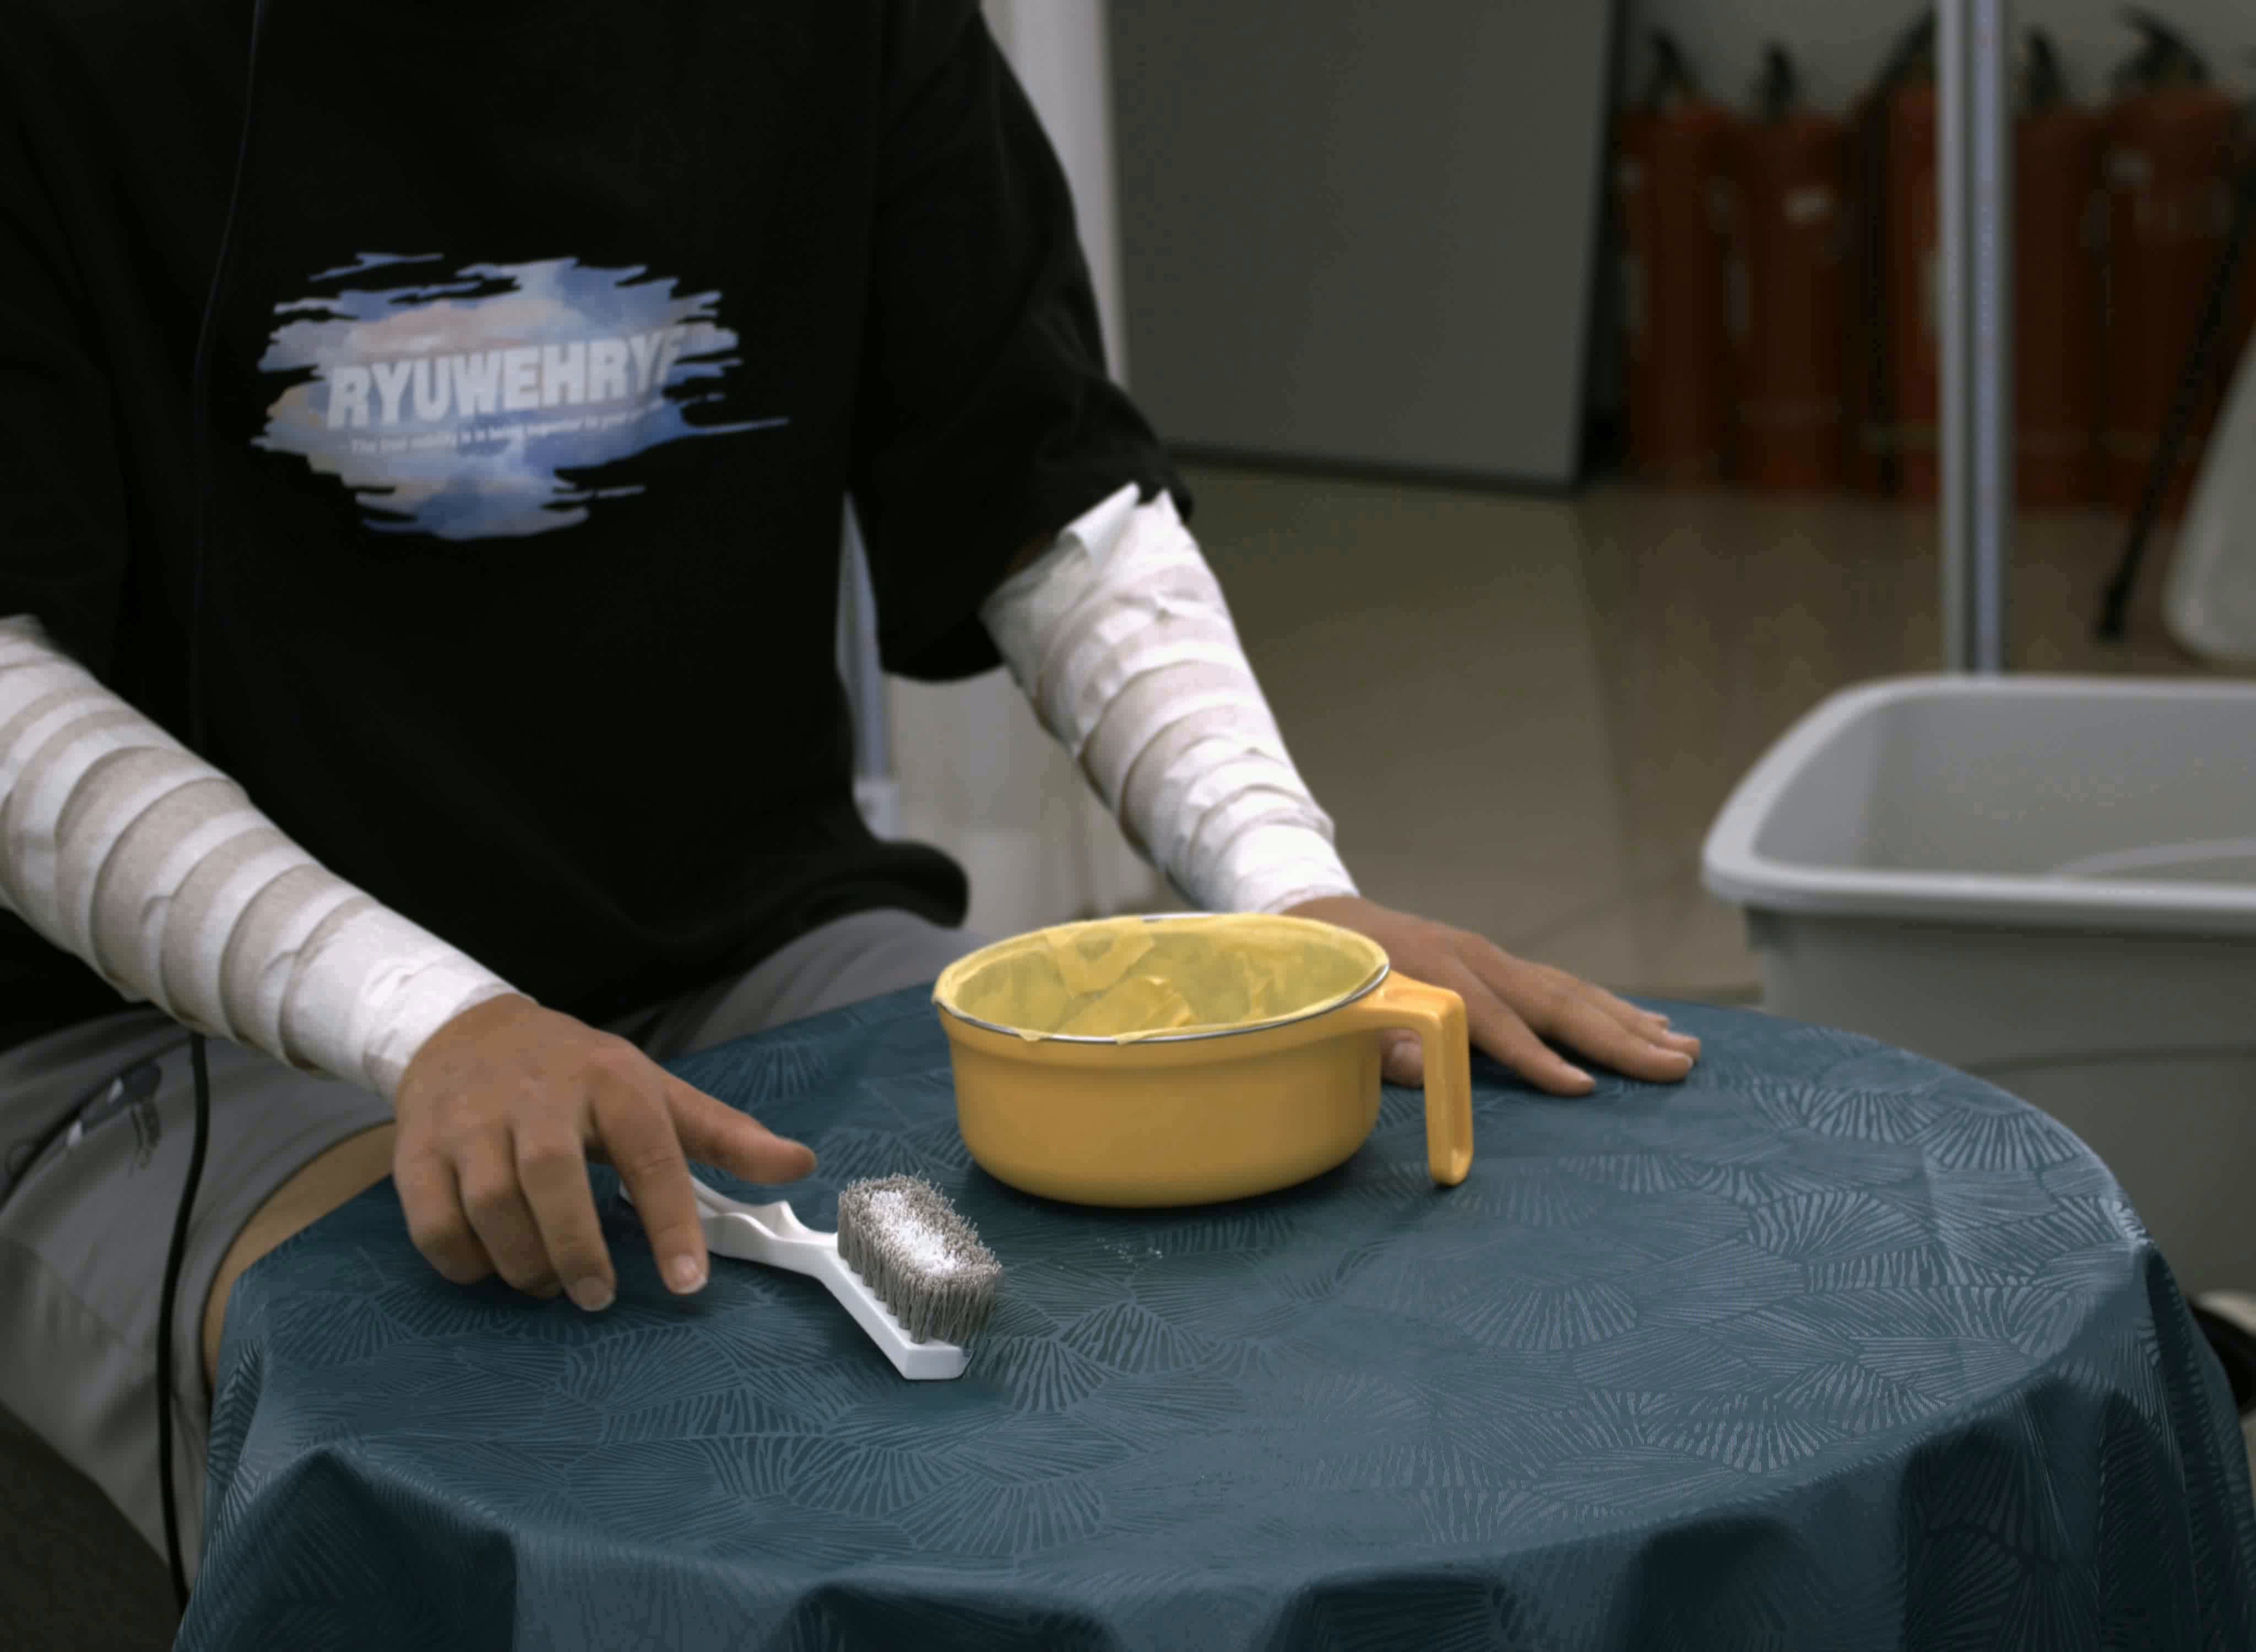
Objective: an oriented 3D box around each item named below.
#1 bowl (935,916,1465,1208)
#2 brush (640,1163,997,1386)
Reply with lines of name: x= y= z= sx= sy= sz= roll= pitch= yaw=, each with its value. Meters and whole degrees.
bowl: x=0.024 y=0.081 z=1.786 sx=0.179 sy=0.075 sz=0.151 roll=2 pitch=10 yaw=21
brush: x=-0.103 y=0.121 z=1.699 sx=0.033 sy=0.051 sz=0.246 roll=-11 pitch=16 yaw=-24
